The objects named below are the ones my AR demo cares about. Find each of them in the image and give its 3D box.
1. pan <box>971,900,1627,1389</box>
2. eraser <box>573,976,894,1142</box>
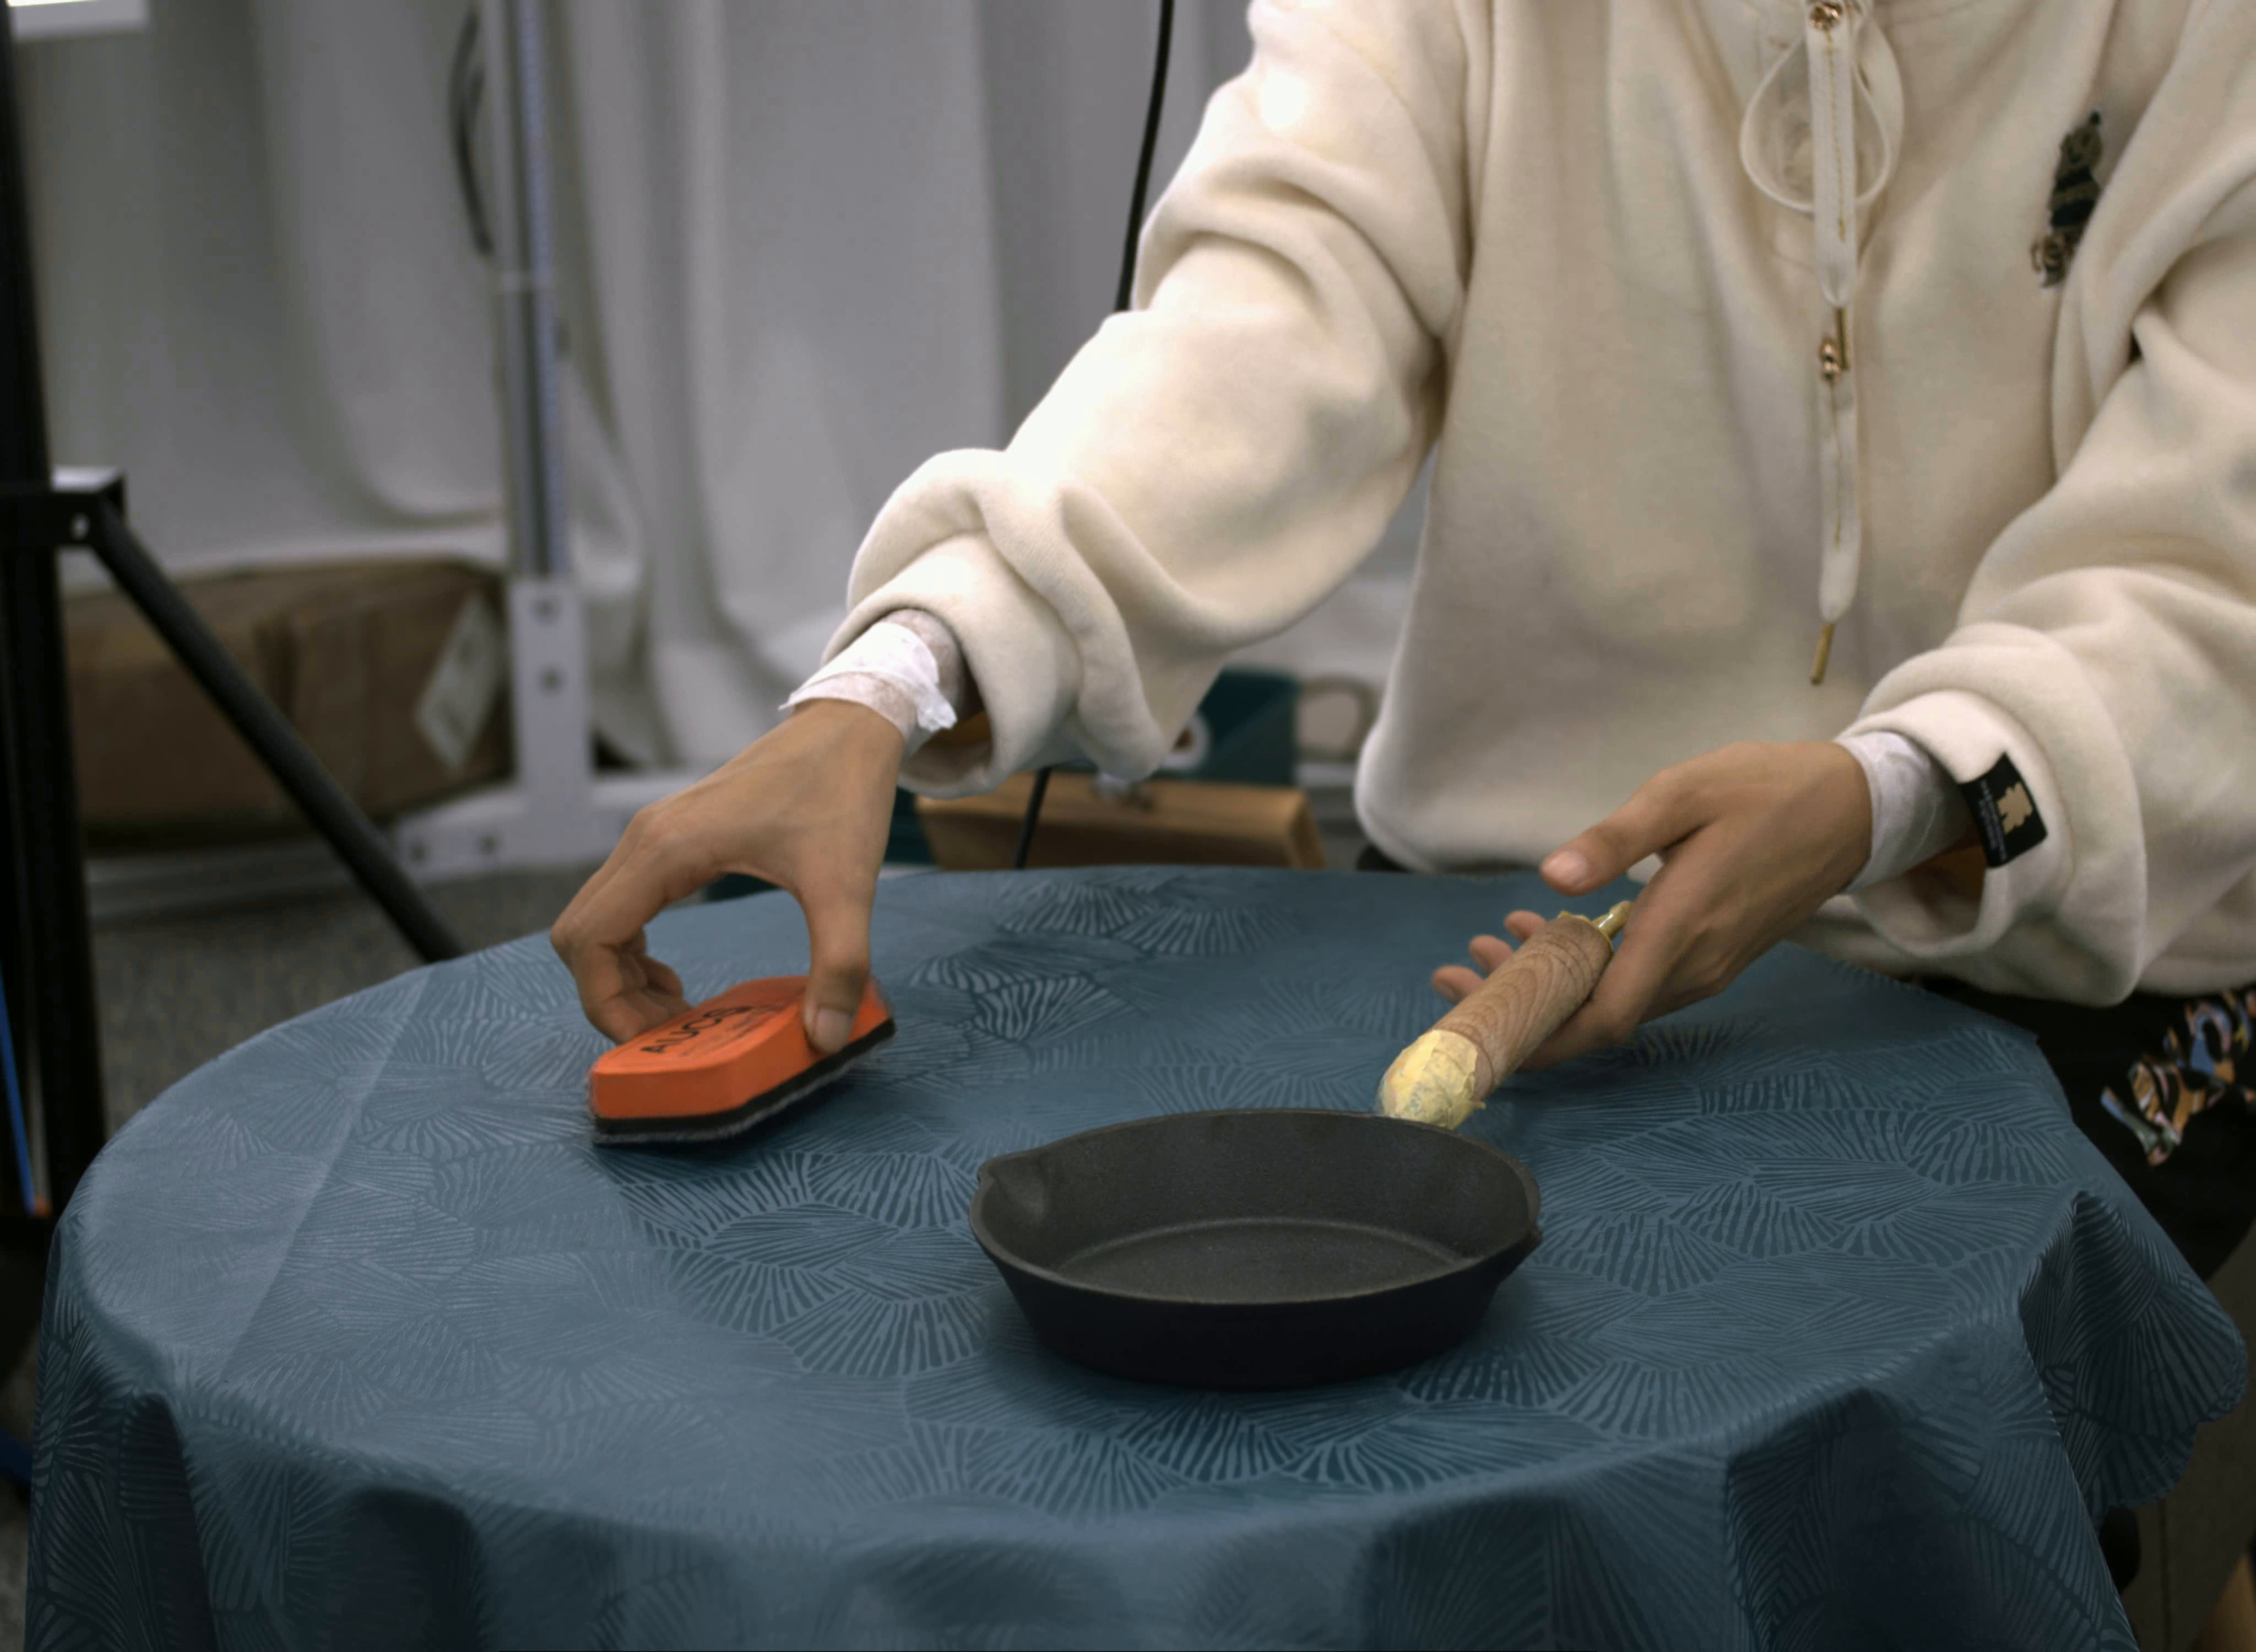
[{"bbox_3d":[0.076,0.088,1.523,0.172,0.049,0.318,6,19,29],"label":"pan"},{"bbox_3d":[-0.121,0.072,1.650,0.060,0.023,0.106,-2,14,30],"label":"eraser"}]
